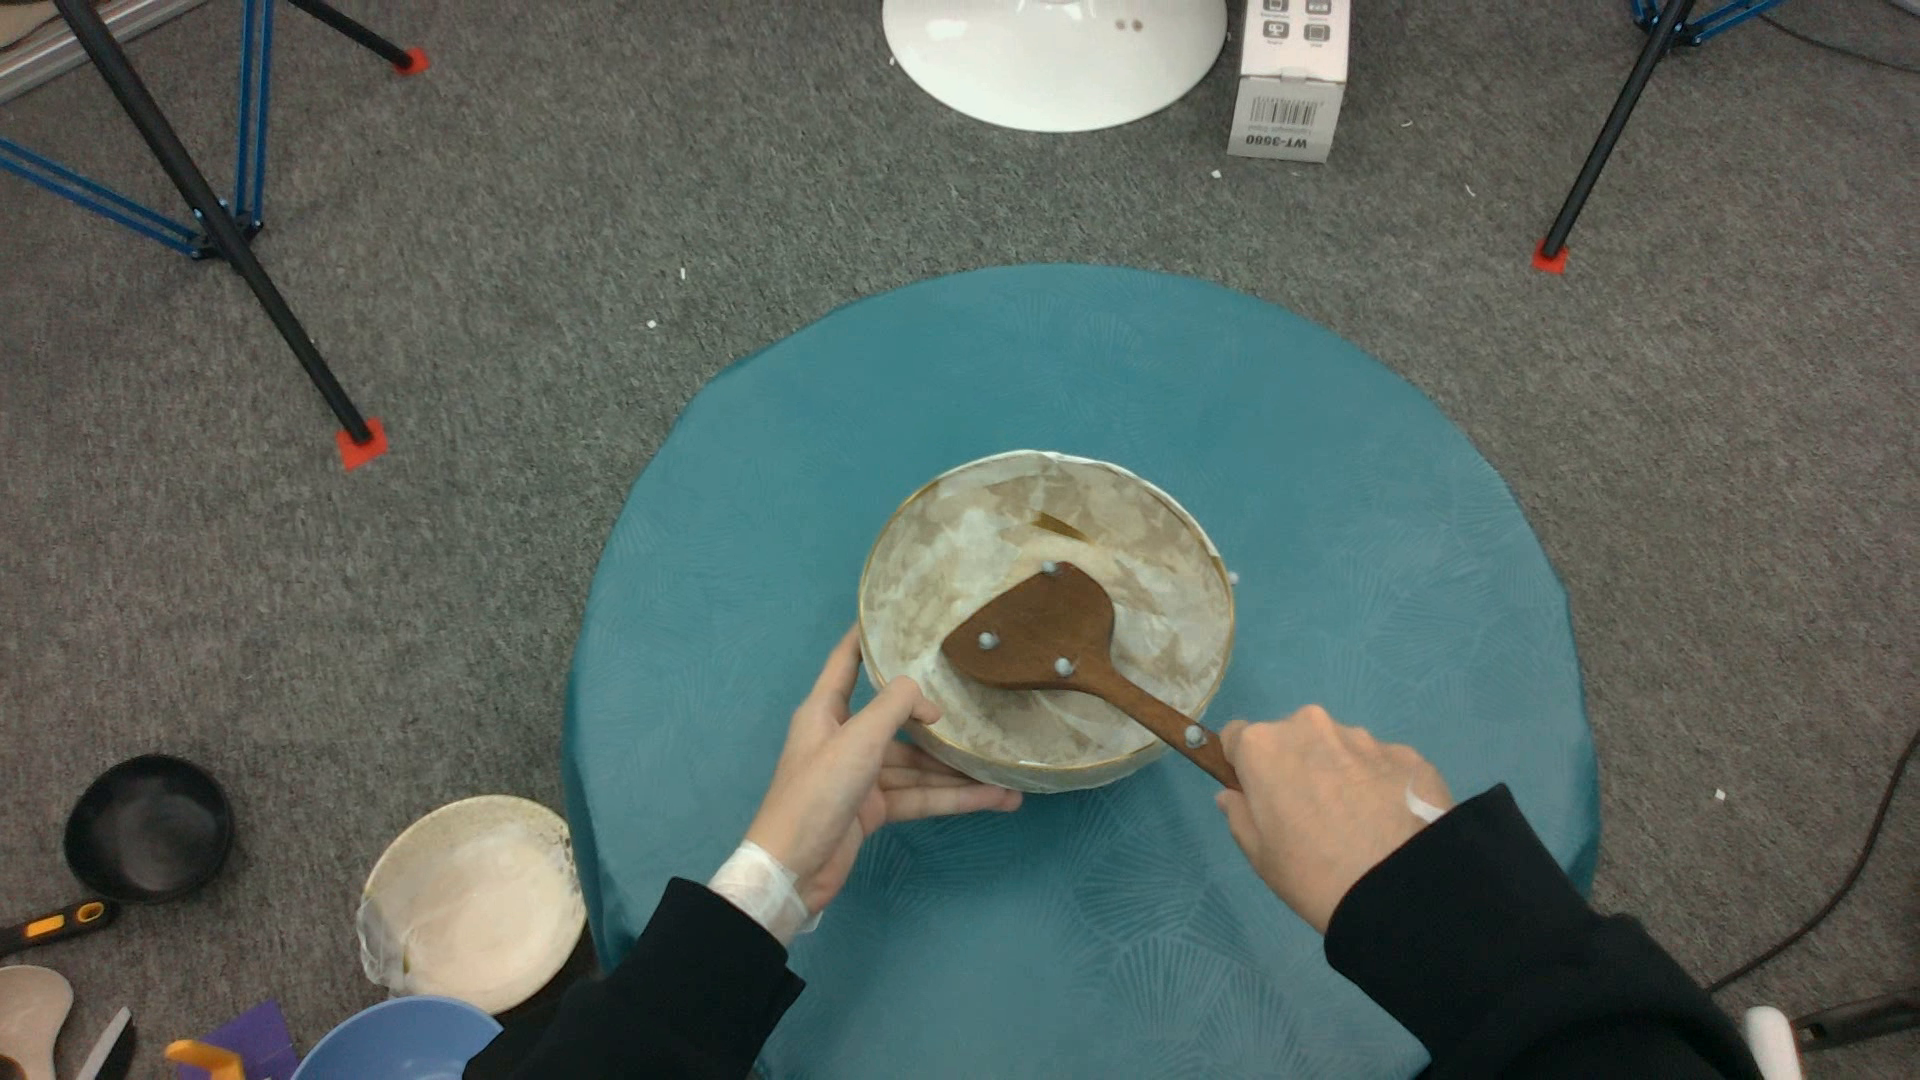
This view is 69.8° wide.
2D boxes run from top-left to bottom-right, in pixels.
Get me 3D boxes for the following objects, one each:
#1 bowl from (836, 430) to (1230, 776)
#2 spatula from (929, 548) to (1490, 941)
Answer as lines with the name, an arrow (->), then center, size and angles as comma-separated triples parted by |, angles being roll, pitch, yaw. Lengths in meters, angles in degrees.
bowl -> 0.034, 0.048, 0.758 | 0.215, 0.094, 0.215 | 3, 56, -4
spatula -> 0.099, 0.082, 0.650 | 0.096, 0.016, 0.386 | -33, 28, -14
